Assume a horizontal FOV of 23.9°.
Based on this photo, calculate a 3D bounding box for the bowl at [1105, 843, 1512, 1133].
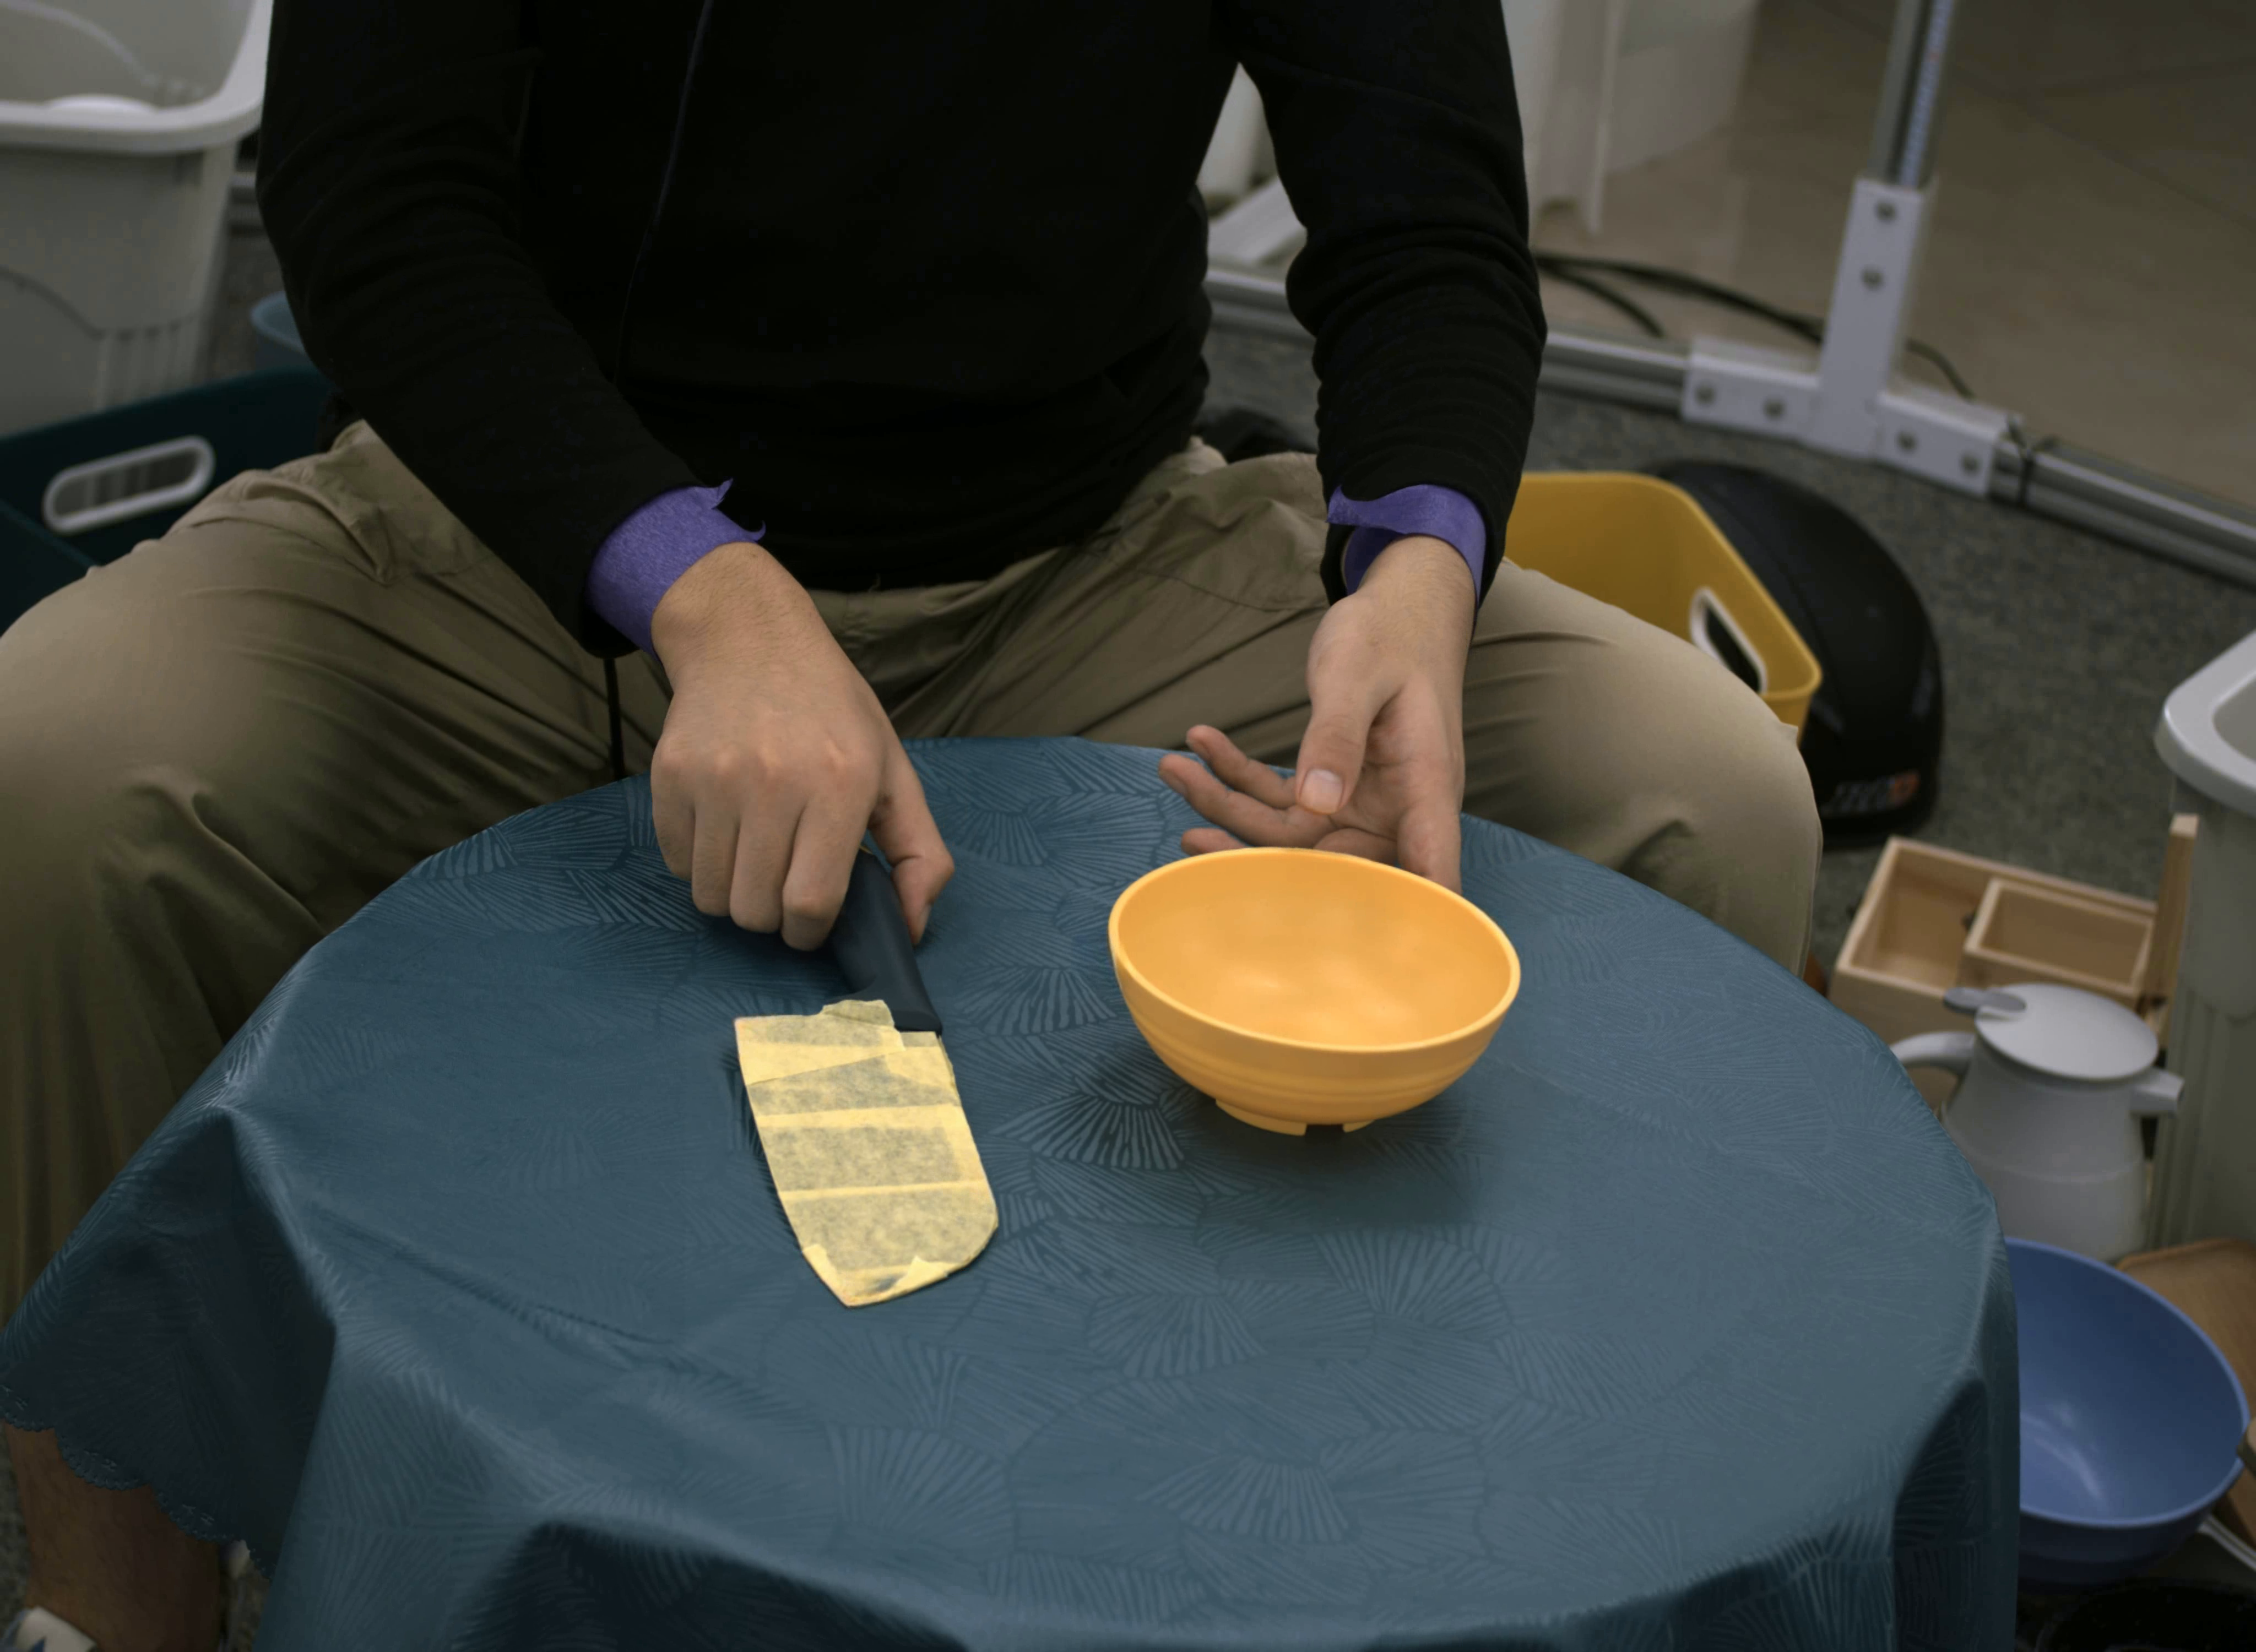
[{"bbox_3d":[0.059,0.066,1.867,0.145,0.060,0.146,7,27,-4],"label":"bowl"}]

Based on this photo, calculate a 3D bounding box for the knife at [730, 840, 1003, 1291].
[{"bbox_3d":[-0.097,0.081,1.852,0.080,0.027,0.292,2,28,-12],"label":"knife"}]
